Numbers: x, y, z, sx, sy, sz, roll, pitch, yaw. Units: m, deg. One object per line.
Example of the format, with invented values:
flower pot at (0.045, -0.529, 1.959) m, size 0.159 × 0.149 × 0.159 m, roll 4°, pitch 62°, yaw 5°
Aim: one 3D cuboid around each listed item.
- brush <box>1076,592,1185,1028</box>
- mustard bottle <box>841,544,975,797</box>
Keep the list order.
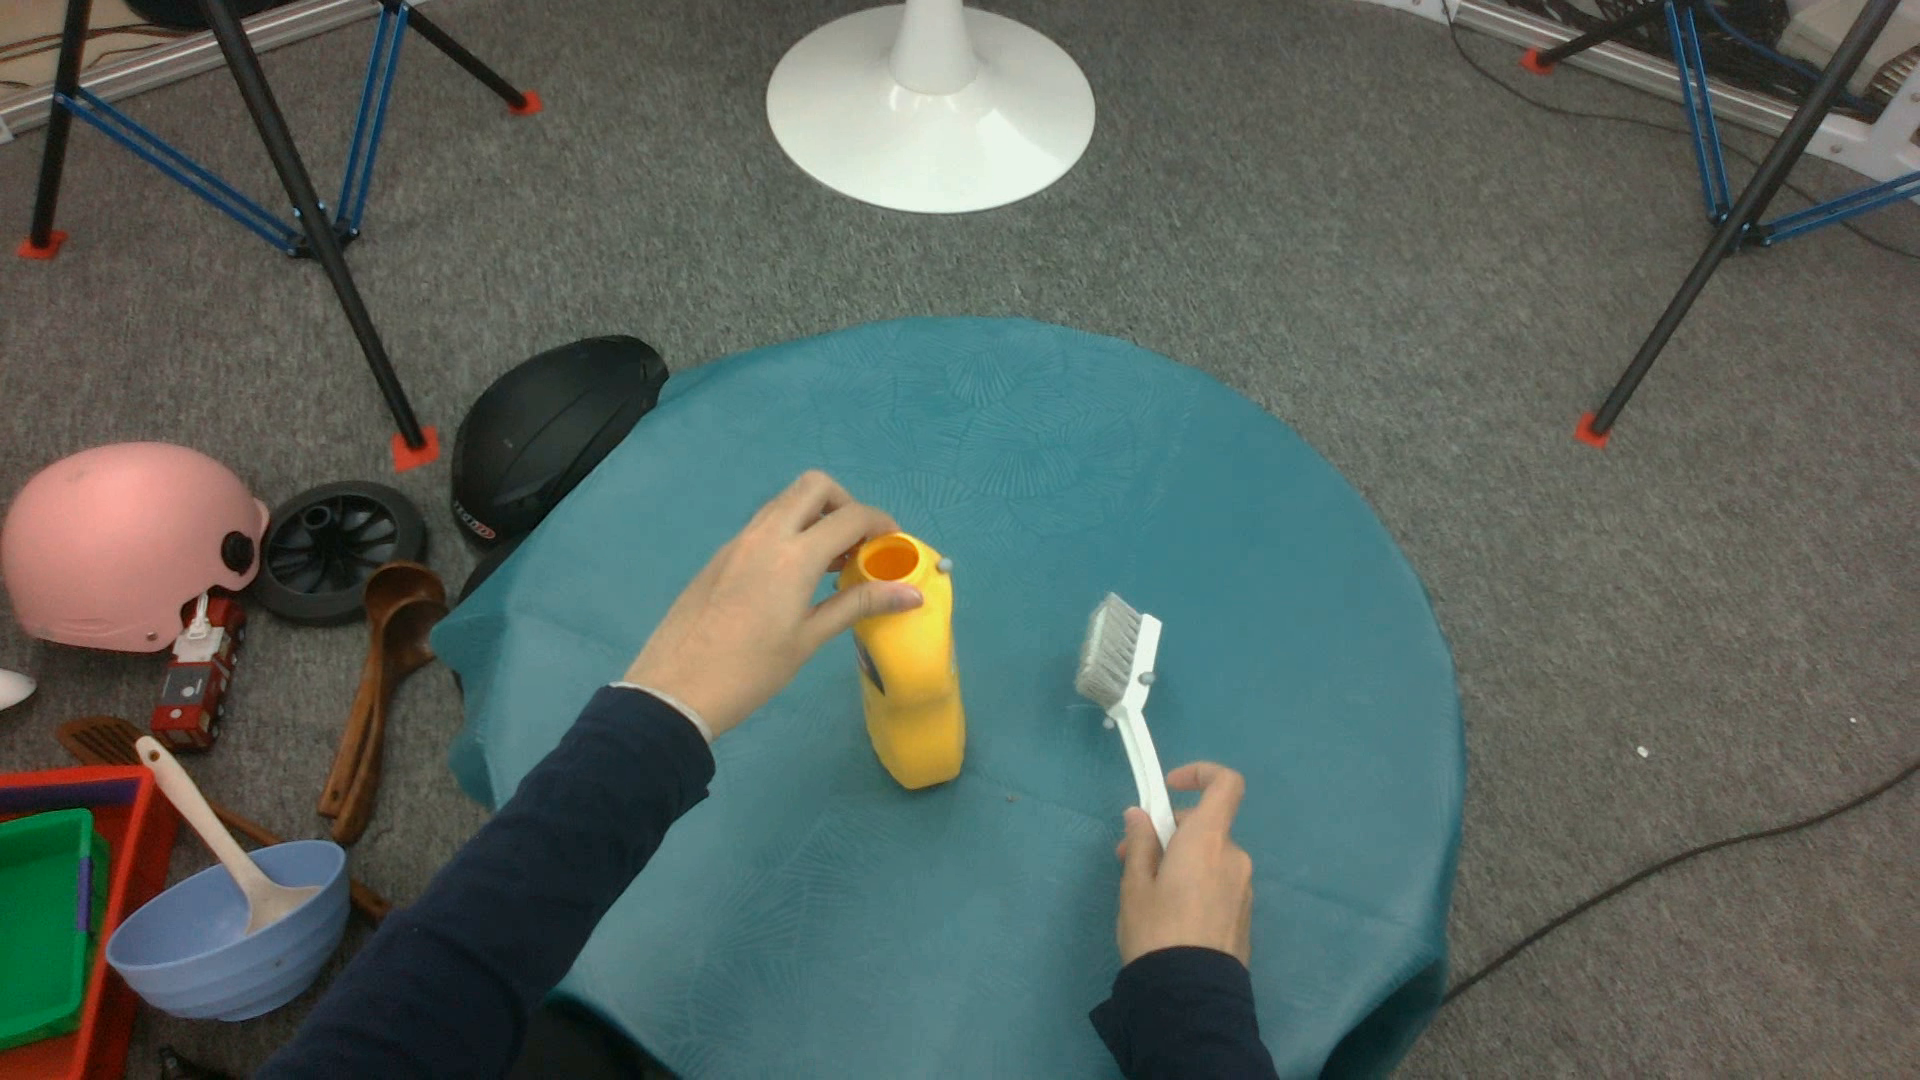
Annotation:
brush at (0.094, 0.145, 0.773) m, size 0.050 × 0.034 × 0.244 m, roll 13°, pitch 60°, yaw -25°
mustard bottle at (-0.028, 0.067, 0.777) m, size 0.059 × 0.171 × 0.098 m, roll -19°, pitch 55°, yaw -8°
